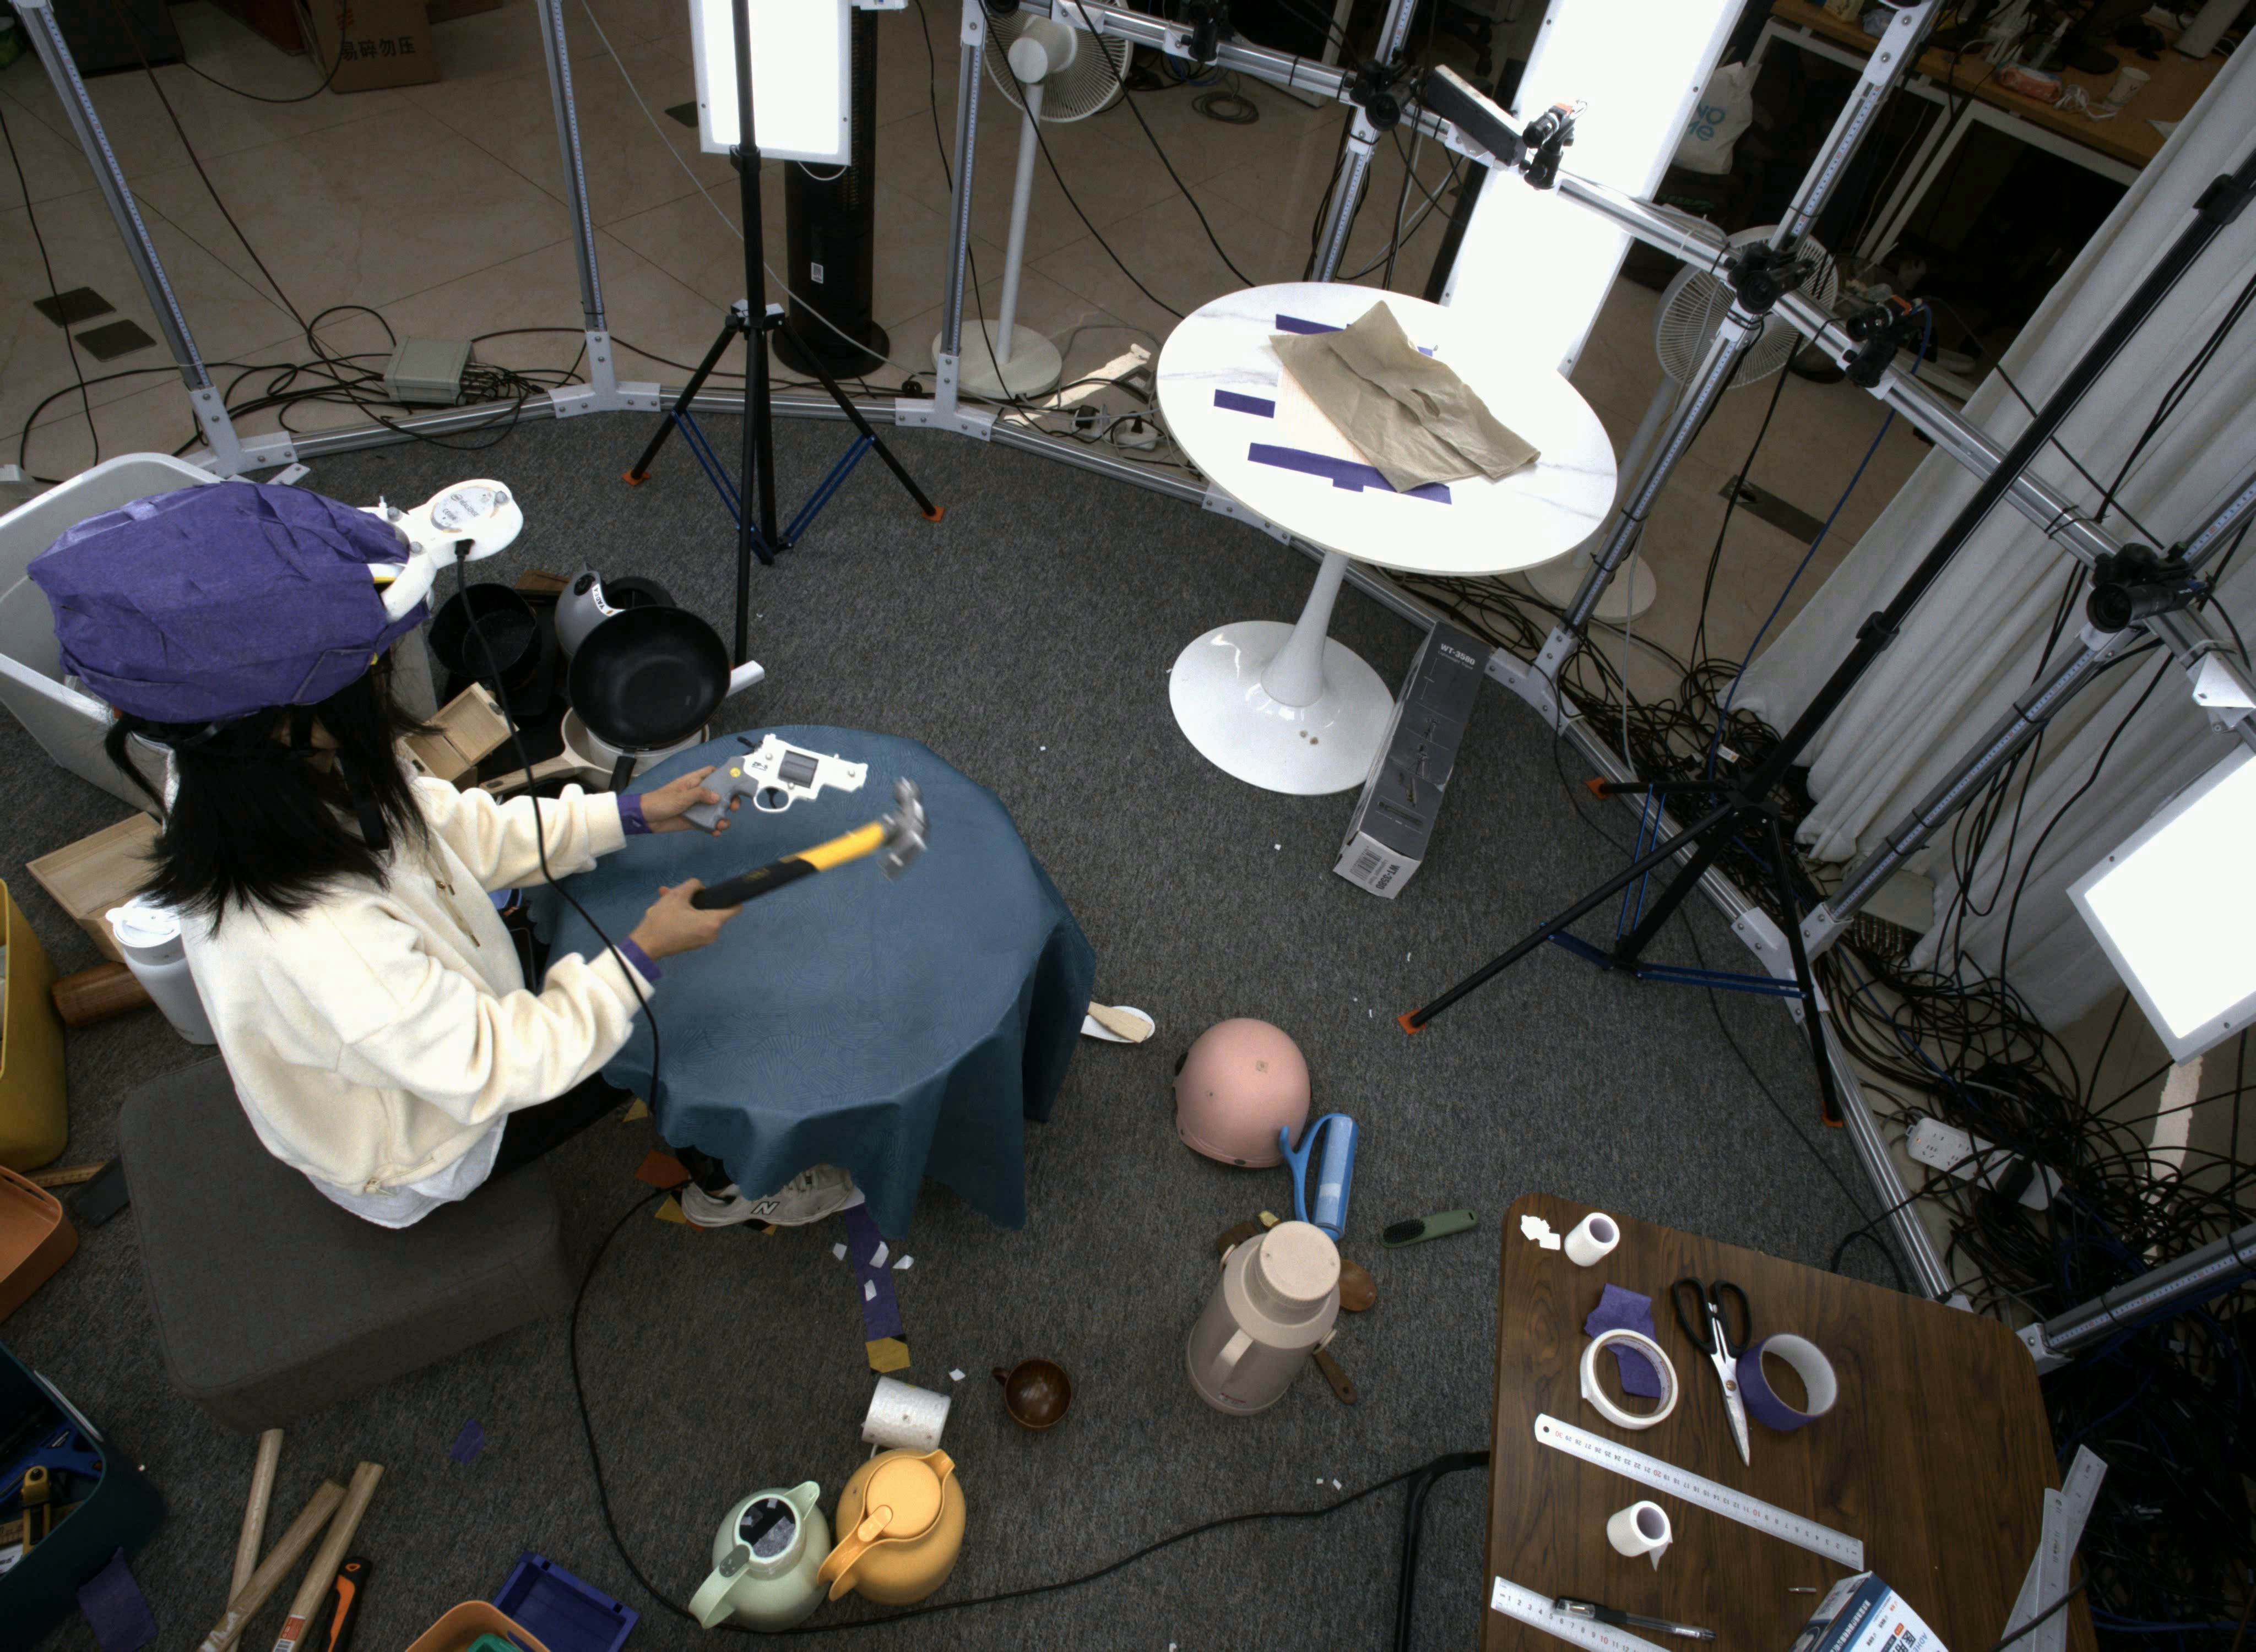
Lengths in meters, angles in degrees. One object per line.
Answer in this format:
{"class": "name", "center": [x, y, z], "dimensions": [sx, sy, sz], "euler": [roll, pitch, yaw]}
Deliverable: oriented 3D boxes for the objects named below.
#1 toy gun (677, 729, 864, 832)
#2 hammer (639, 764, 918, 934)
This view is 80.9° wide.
{"class": "toy gun", "center": [-0.447, -0.048, 1.626], "dimensions": [0.210, 0.038, 0.141], "euler": [14, 72, -14]}
{"class": "hammer", "center": [-0.393, 0.039, 1.444], "dimensions": [0.336, 0.033, 0.127], "euler": [-22, 43, 0]}
